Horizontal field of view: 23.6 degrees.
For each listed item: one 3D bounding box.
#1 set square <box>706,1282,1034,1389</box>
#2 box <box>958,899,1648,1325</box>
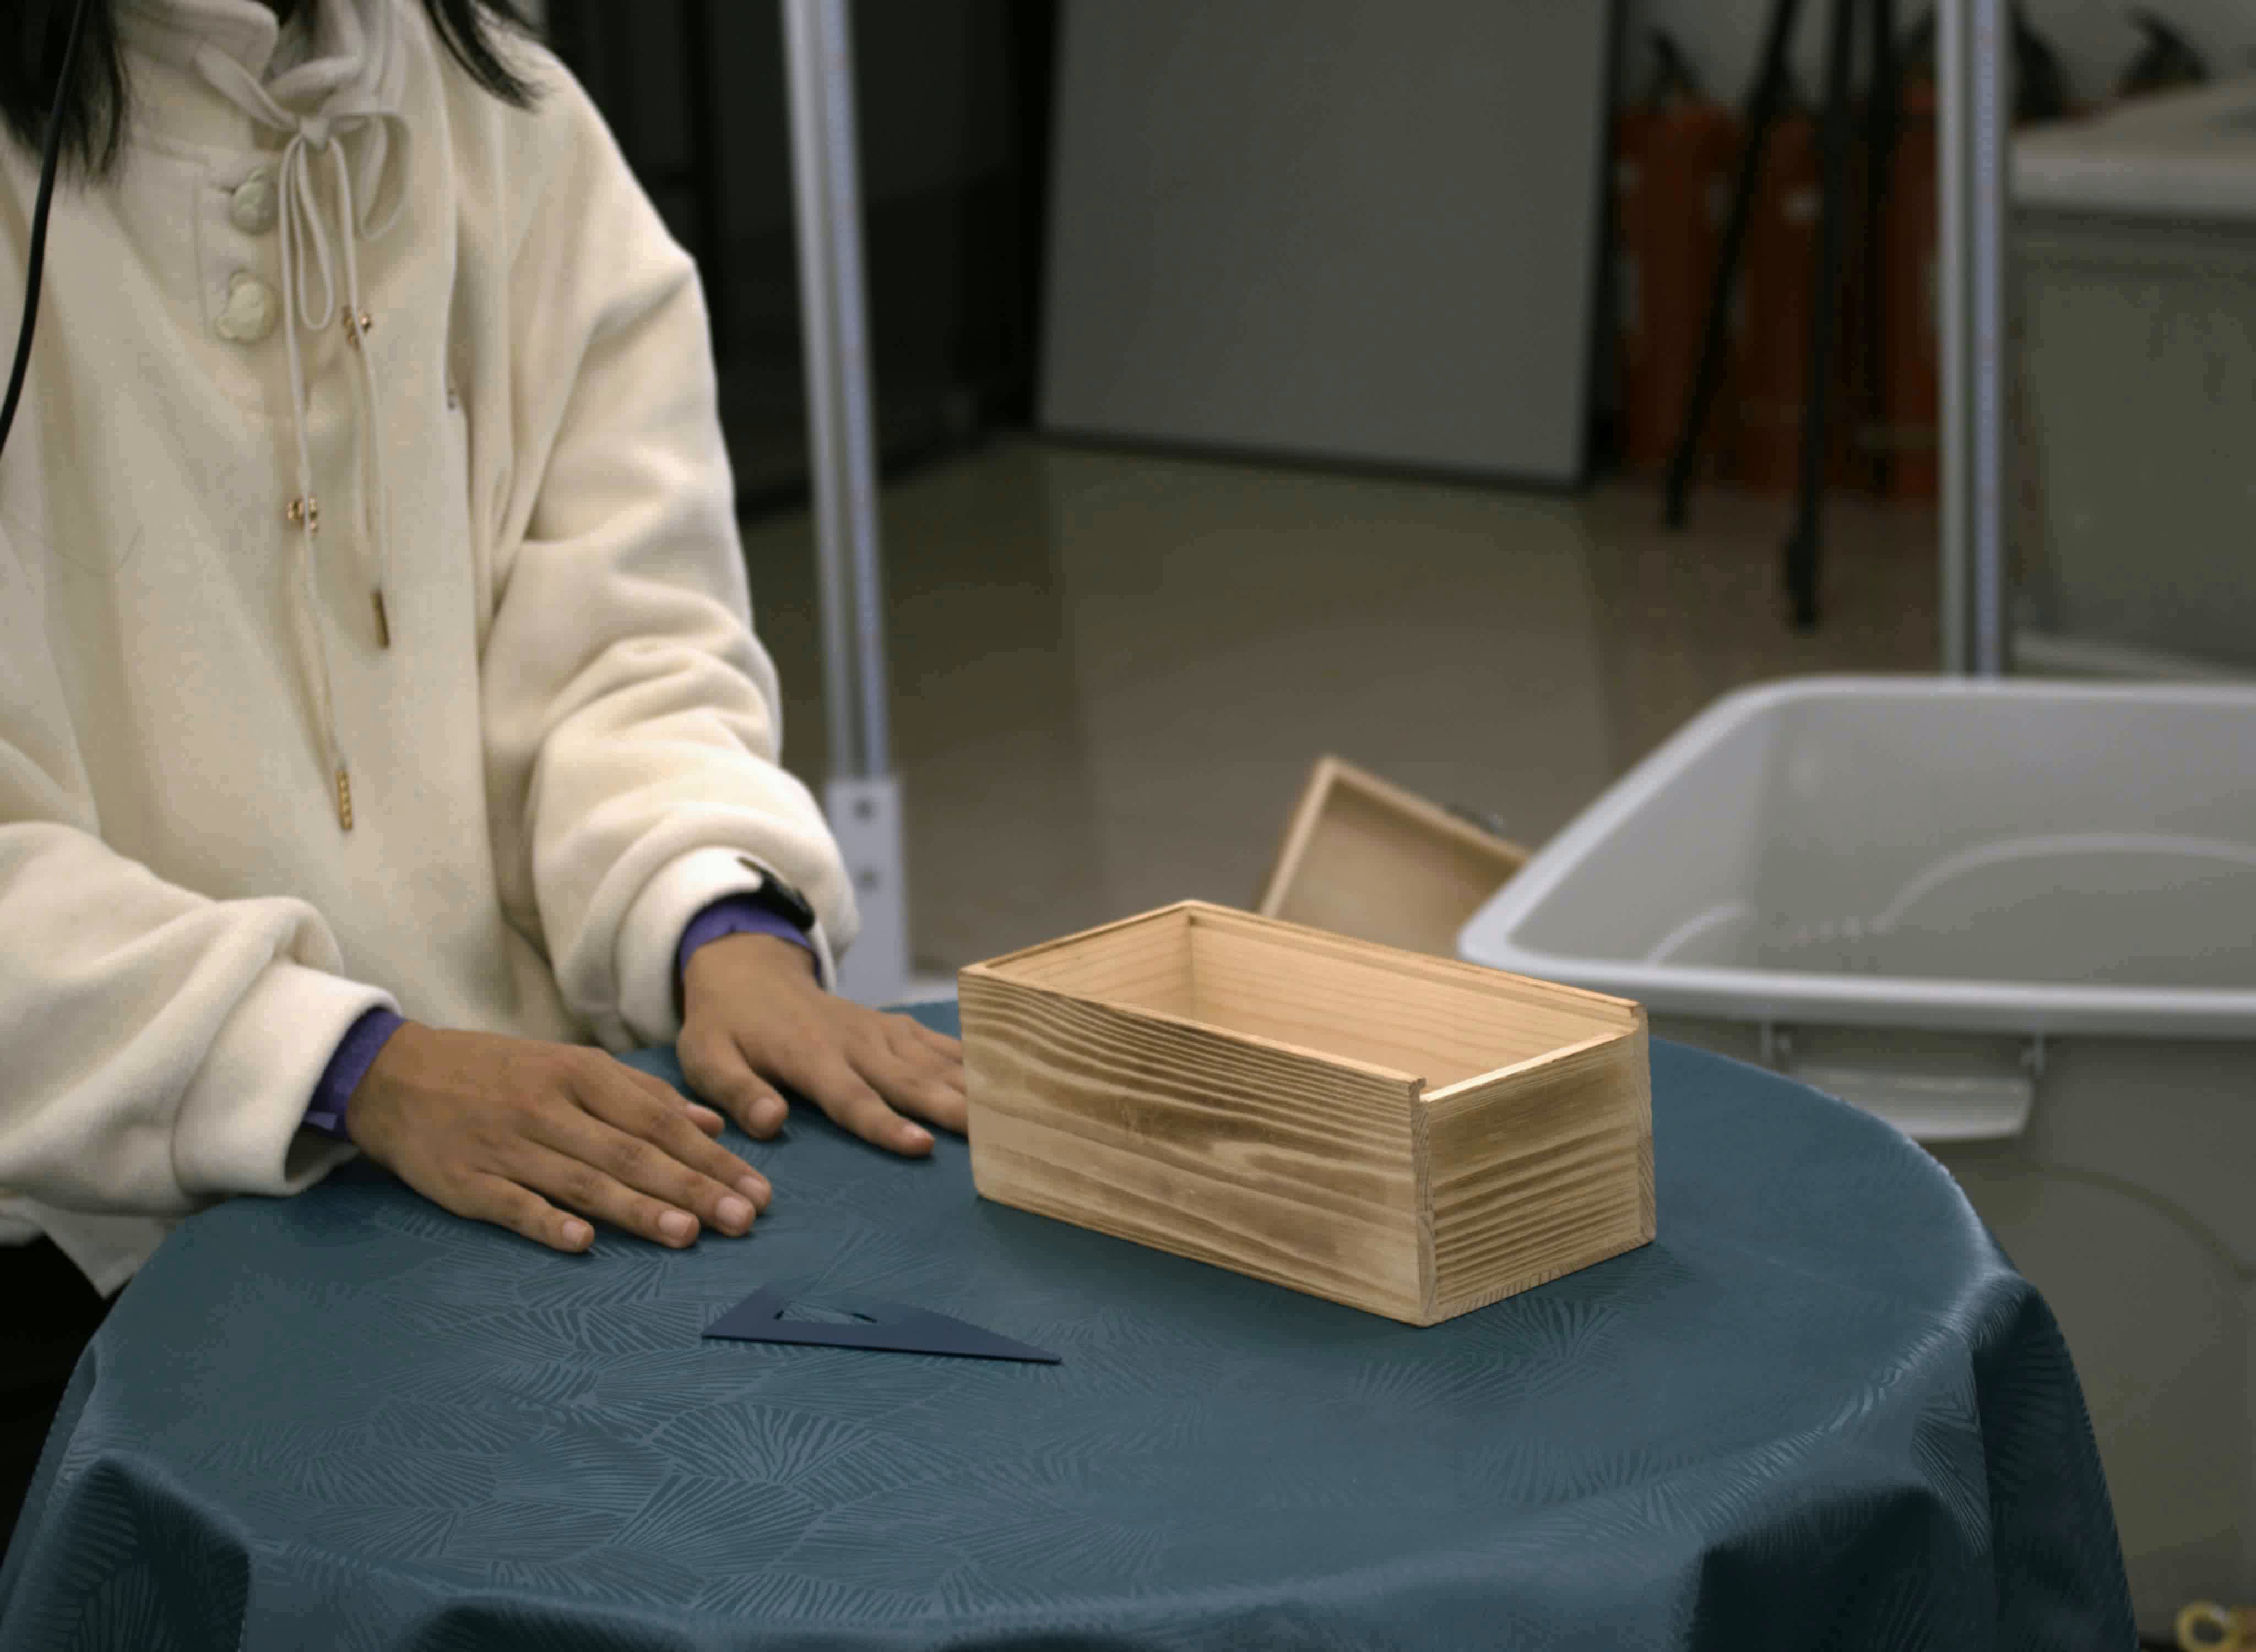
[{"bbox_3d":[-0.084,0.158,1.637,0.060,0.006,0.133,-11,15,-32],"label":"set square"},{"bbox_3d":[0.054,0.088,1.721,0.105,0.081,0.213,-14,17,-40],"label":"box"}]
